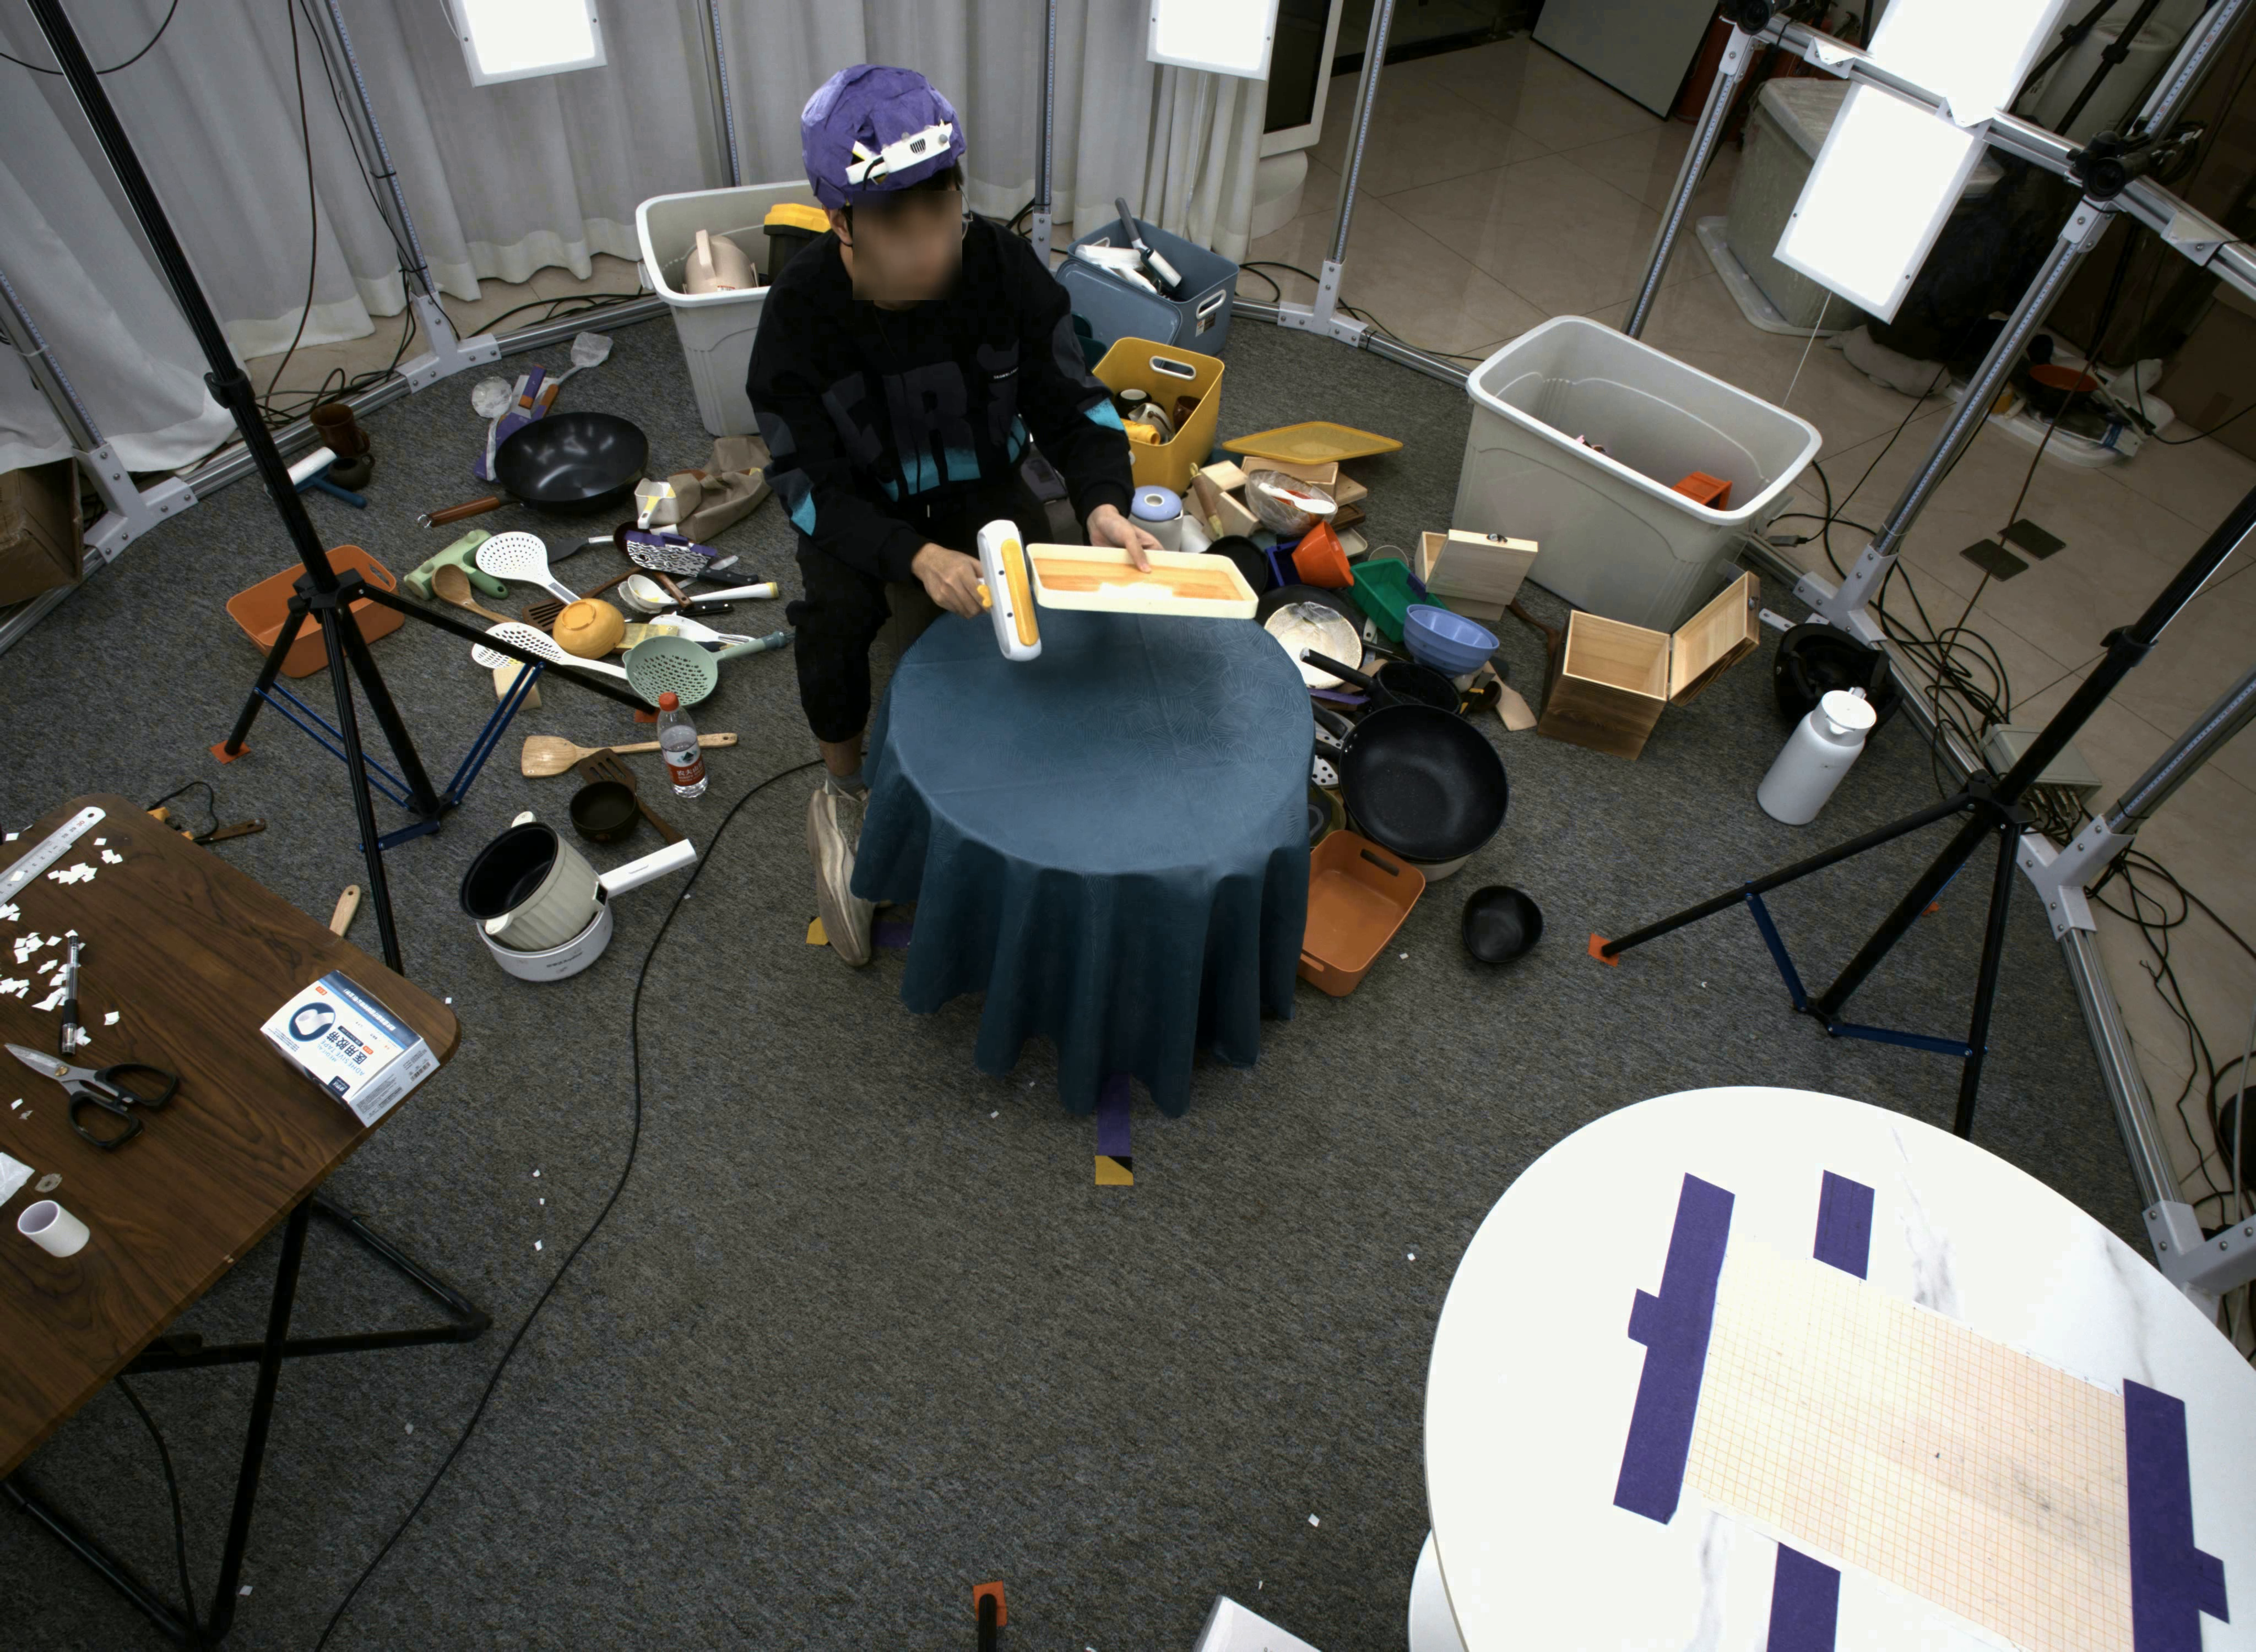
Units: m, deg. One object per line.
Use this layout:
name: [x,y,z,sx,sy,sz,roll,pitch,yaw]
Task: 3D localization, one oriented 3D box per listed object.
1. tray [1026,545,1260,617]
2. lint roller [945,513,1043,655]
tray: [0.016,-0.338,1.770,0.299,0.027,0.196,1,29,-11]
lint roller: [-0.195,-0.332,1.801,0.074,0.190,0.194,-24,18,-23]
